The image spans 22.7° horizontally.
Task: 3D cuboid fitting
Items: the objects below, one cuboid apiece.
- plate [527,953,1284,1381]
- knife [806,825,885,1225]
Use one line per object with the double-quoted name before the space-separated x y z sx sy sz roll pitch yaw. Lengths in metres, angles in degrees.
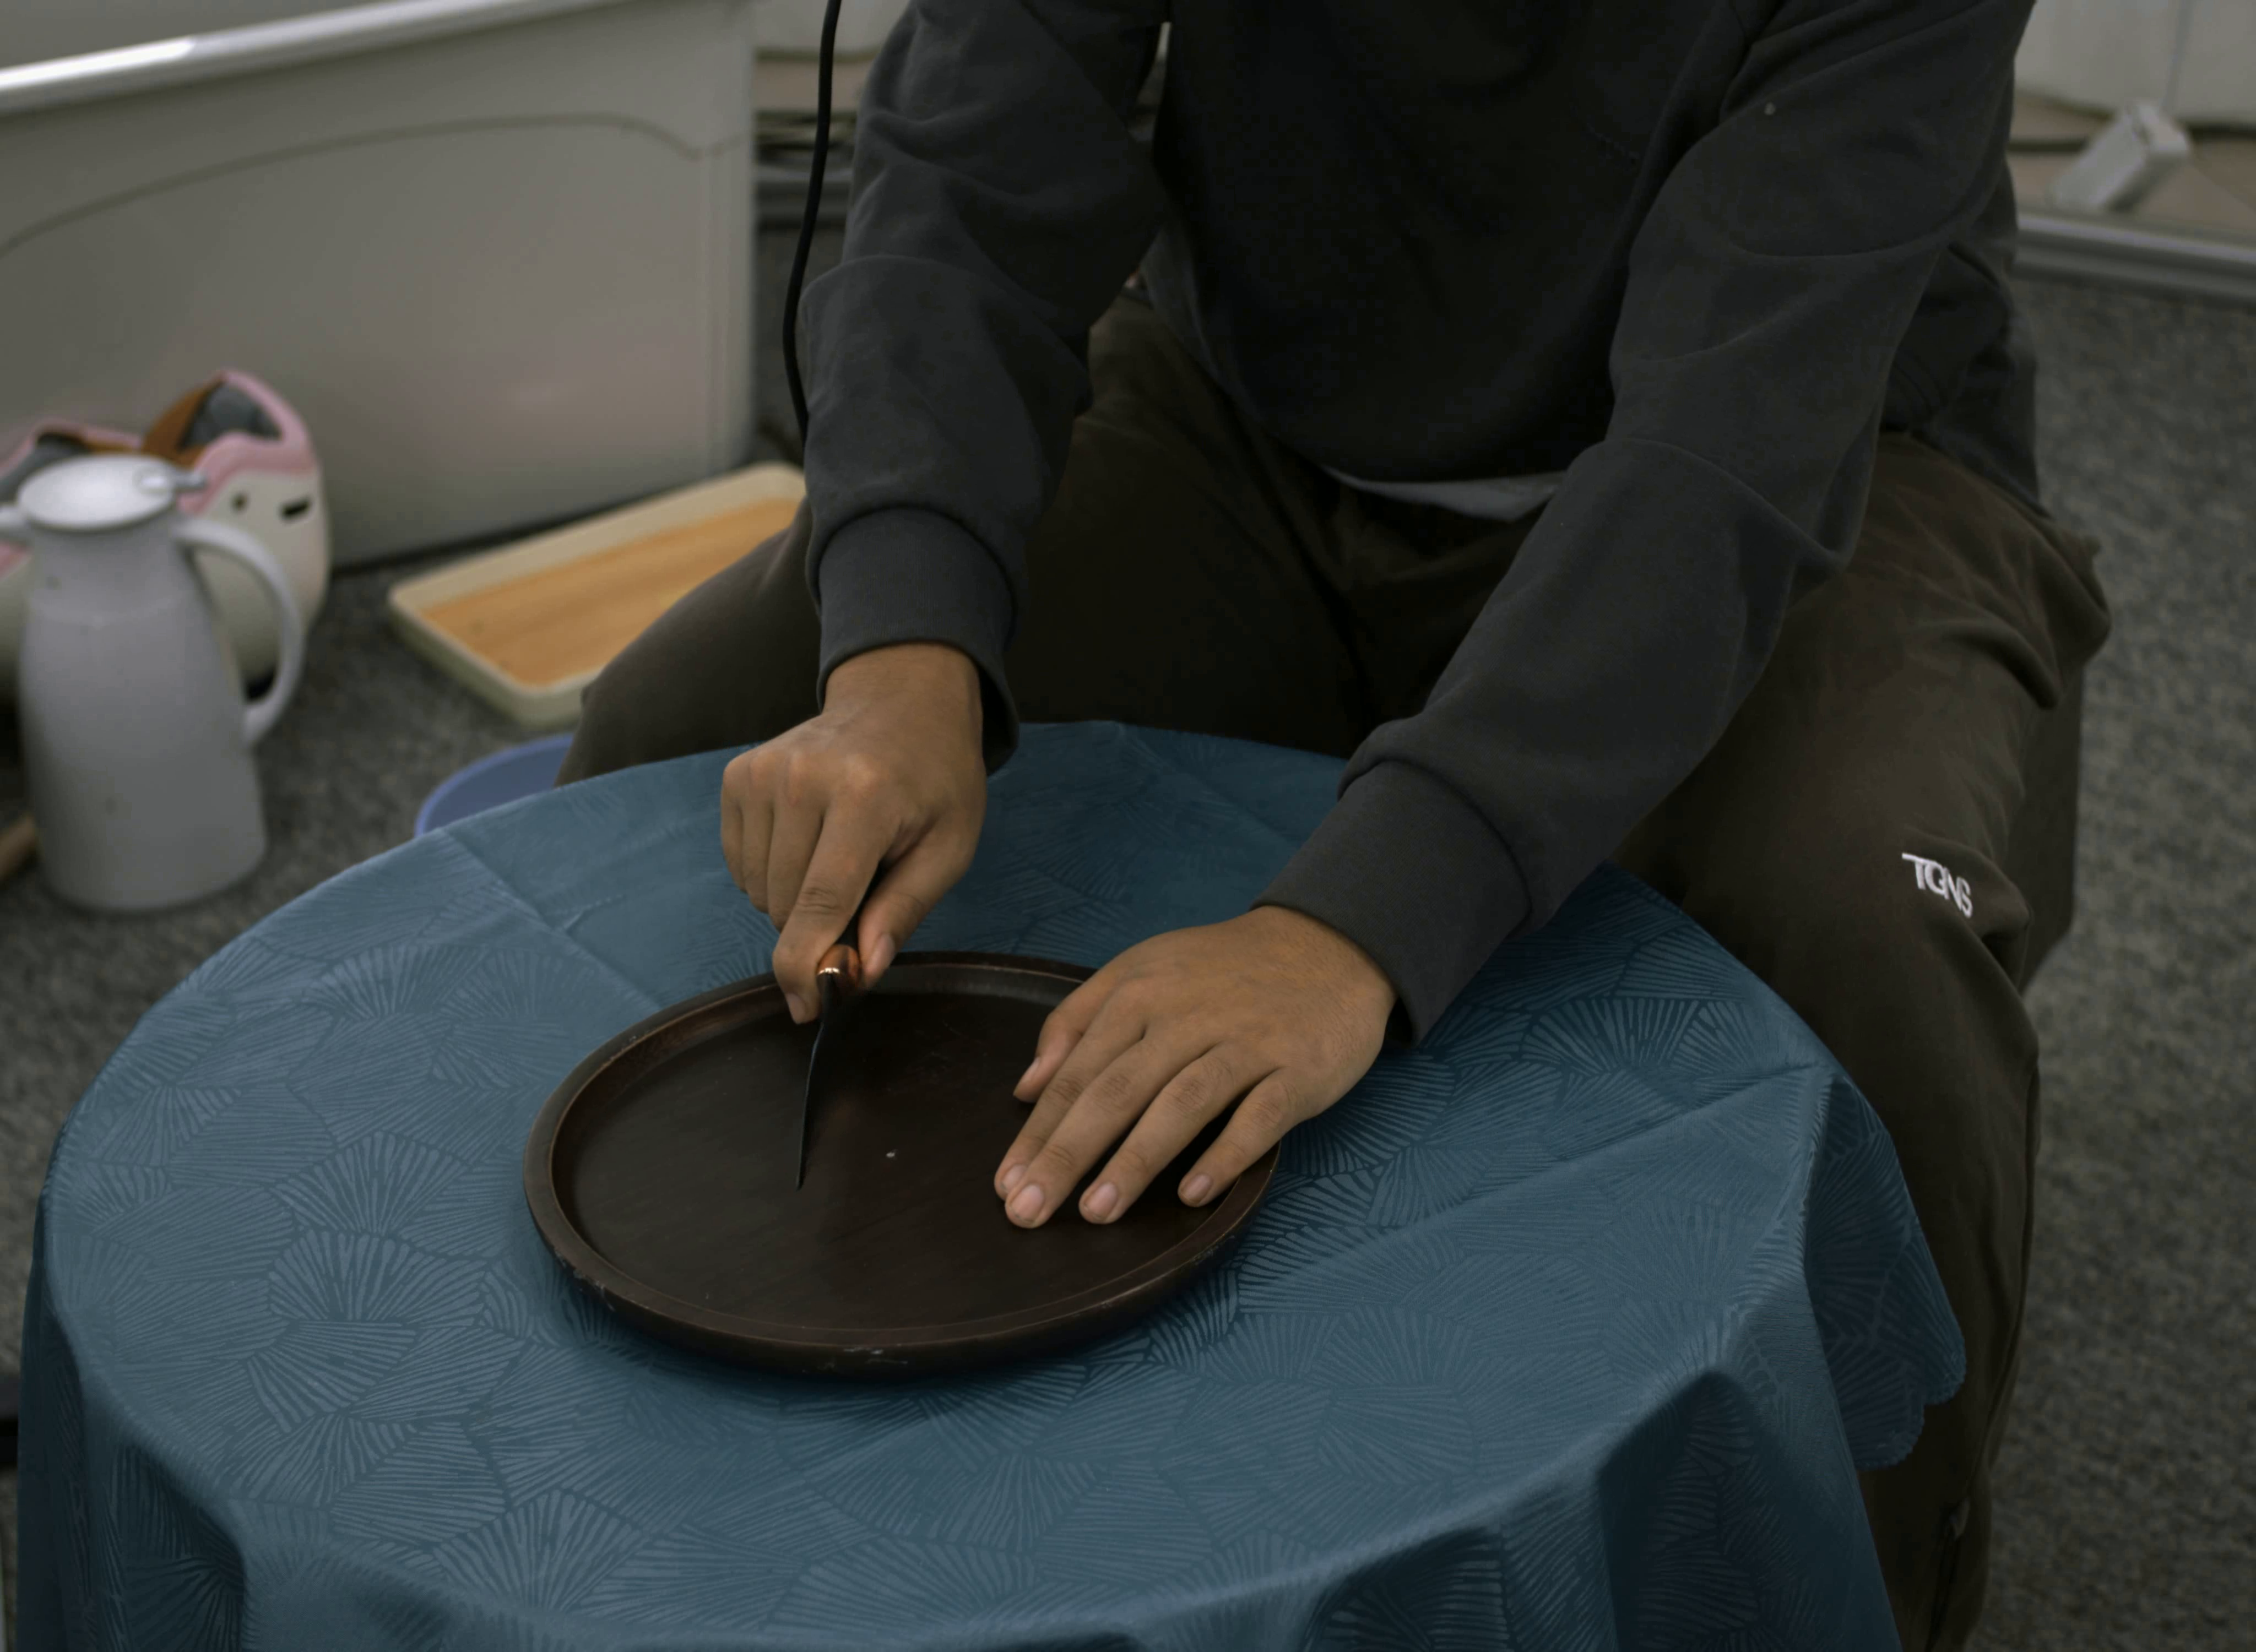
"plate" -0.073 0.112 1.866 0.253 0.029 0.258 -3 26 2
"knife" -0.098 0.065 1.913 0.017 0.026 0.229 -12 30 10
